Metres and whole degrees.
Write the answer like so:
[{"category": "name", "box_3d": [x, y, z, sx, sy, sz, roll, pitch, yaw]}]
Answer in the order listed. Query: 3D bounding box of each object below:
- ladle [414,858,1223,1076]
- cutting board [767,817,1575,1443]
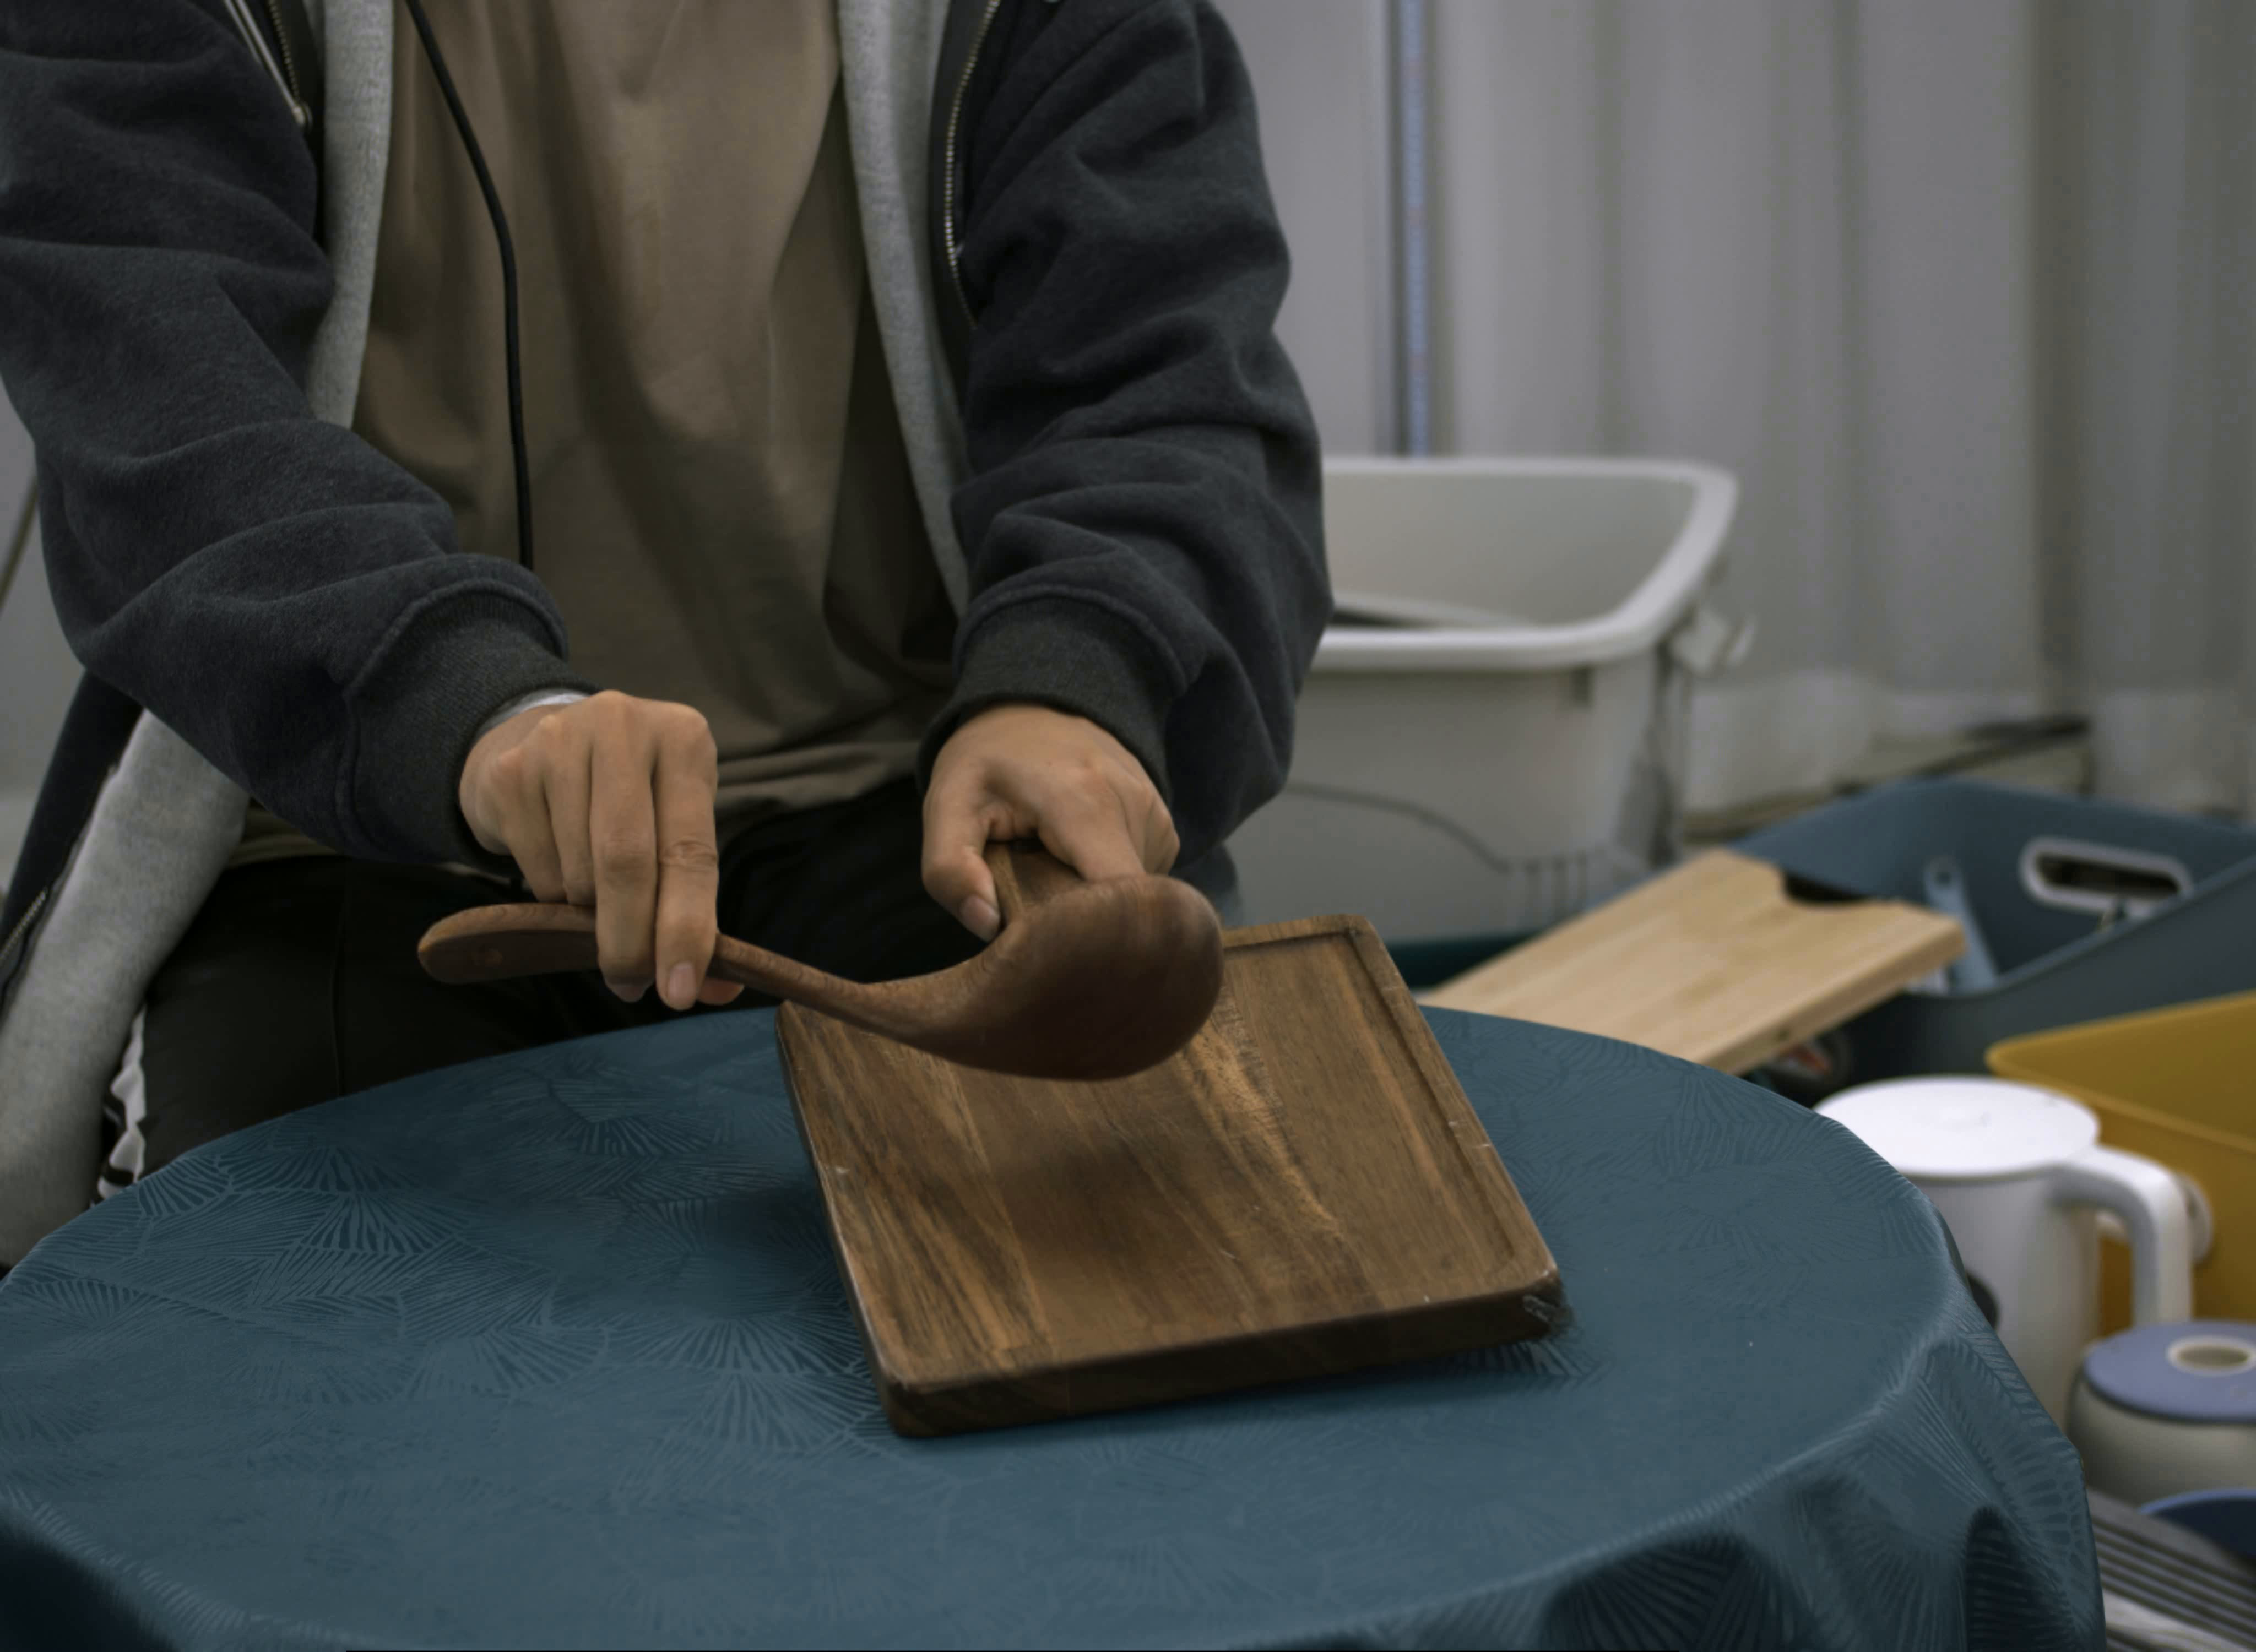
[{"category": "ladle", "box_3d": [-0.095, 0.033, 1.654, 0.261, 0.075, 0.066, 7, 51, 27]}, {"category": "cutting board", "box_3d": [-0.003, 0.079, 1.682, 0.200, 0.023, 0.356, -8, 26, -9]}]
